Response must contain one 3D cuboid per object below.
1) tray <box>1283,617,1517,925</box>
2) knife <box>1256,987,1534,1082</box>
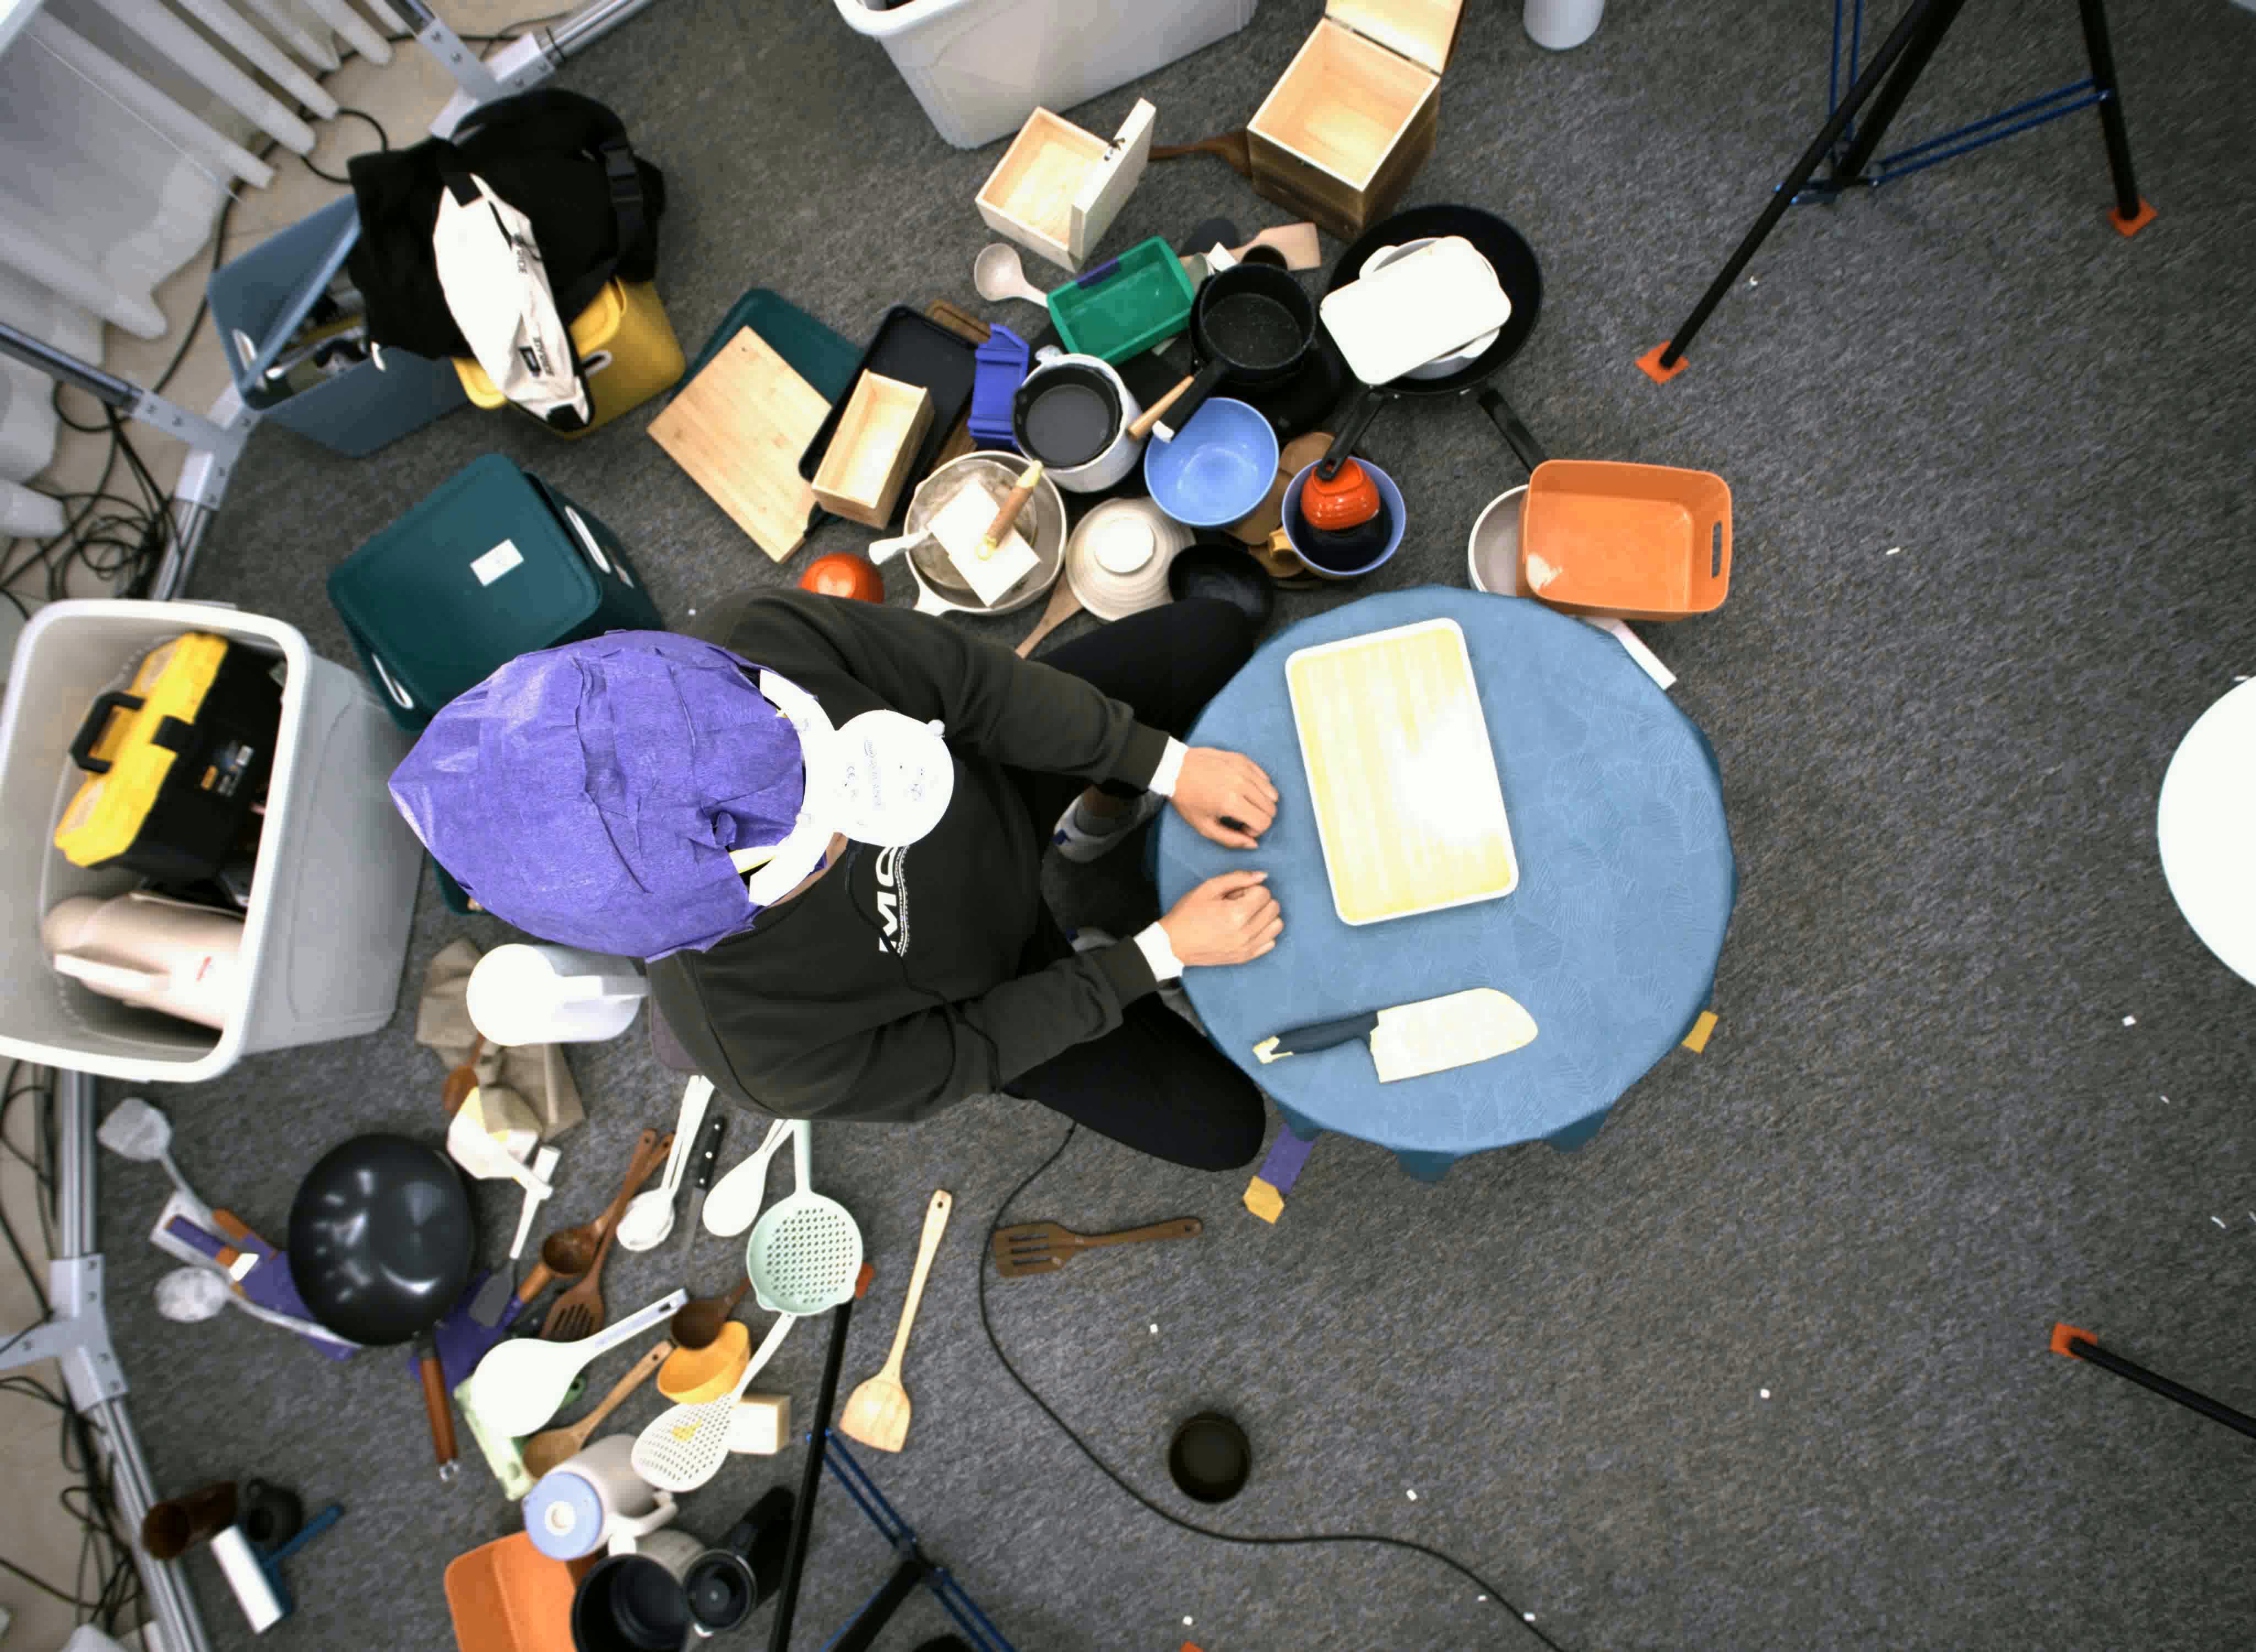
[{"bbox_3d":[0.285,-0.059,1.451,0.193,0.027,0.298,-12,84,11],"label":"tray"},{"bbox_3d":[0.278,0.223,1.443,0.291,0.027,0.080,-11,83,9],"label":"knife"}]
